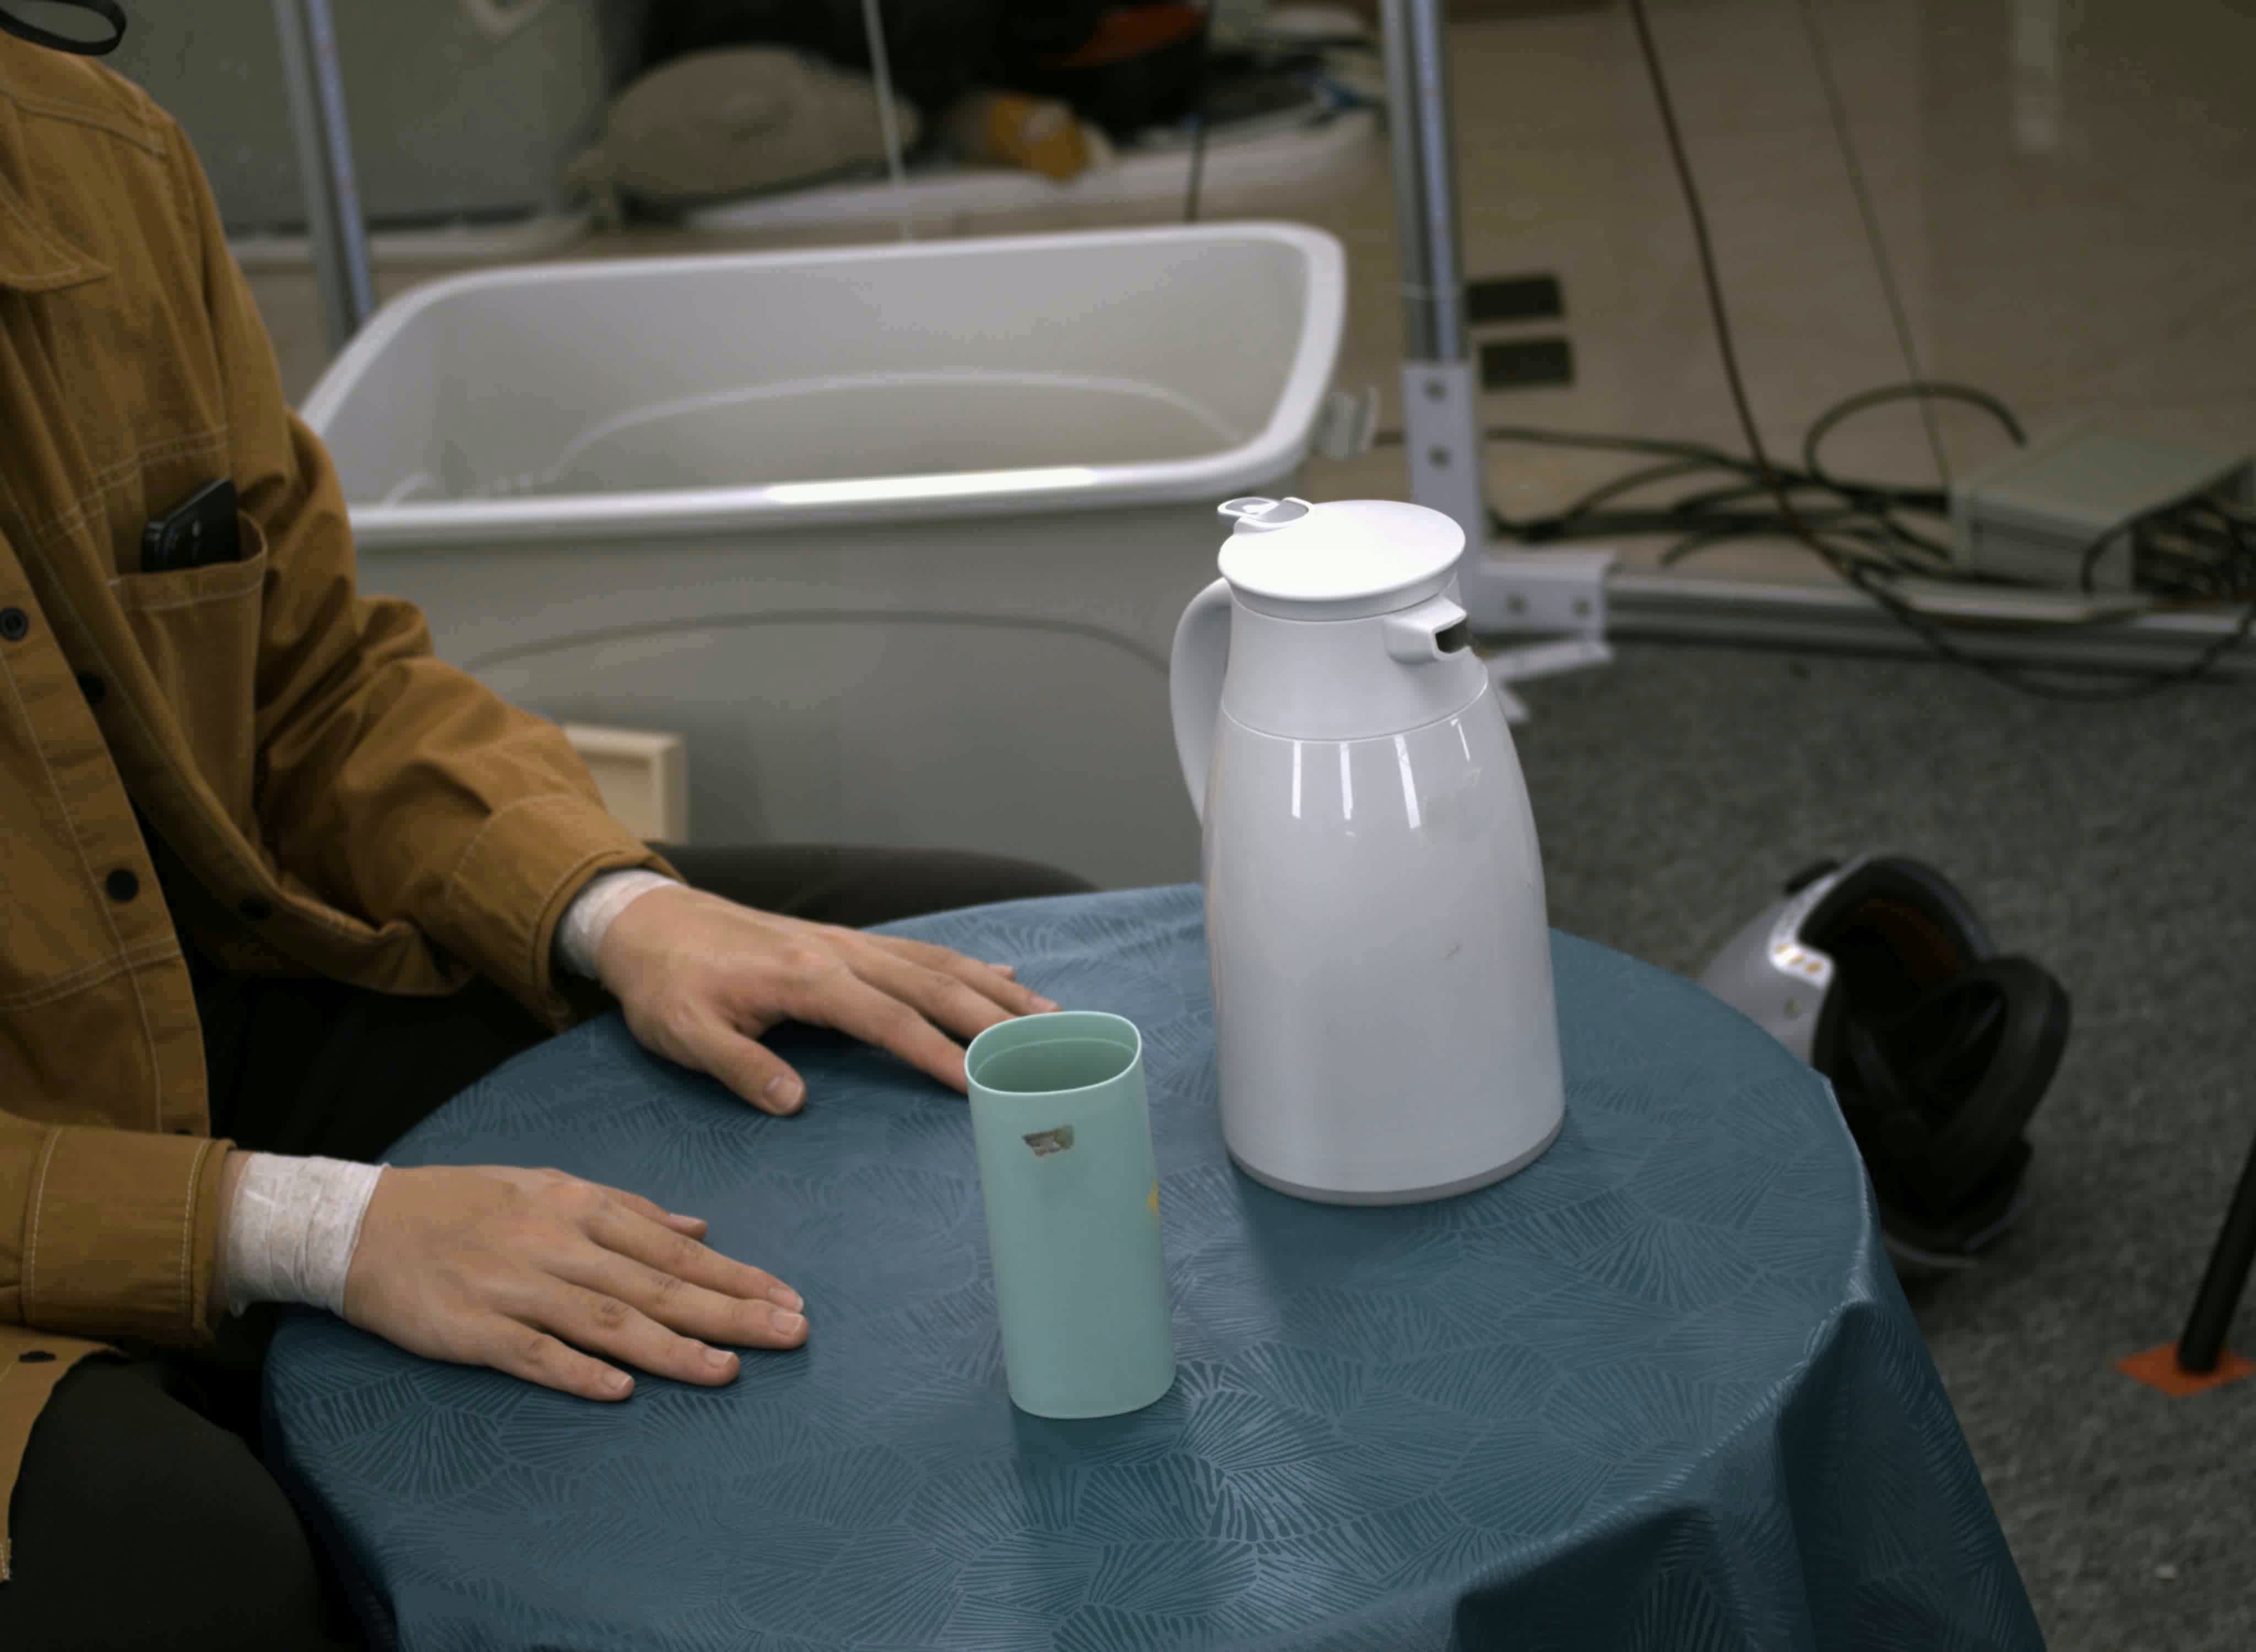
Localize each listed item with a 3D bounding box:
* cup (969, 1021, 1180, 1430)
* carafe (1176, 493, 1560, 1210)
[{"bbox_3d":[-0.020,0.141,2.003,0.066,0.134,0.066,-5,25,2],"label":"cup"},{"bbox_3d":[0.078,0.000,2.136,0.131,0.252,0.166,-22,29,-31],"label":"carafe"}]
